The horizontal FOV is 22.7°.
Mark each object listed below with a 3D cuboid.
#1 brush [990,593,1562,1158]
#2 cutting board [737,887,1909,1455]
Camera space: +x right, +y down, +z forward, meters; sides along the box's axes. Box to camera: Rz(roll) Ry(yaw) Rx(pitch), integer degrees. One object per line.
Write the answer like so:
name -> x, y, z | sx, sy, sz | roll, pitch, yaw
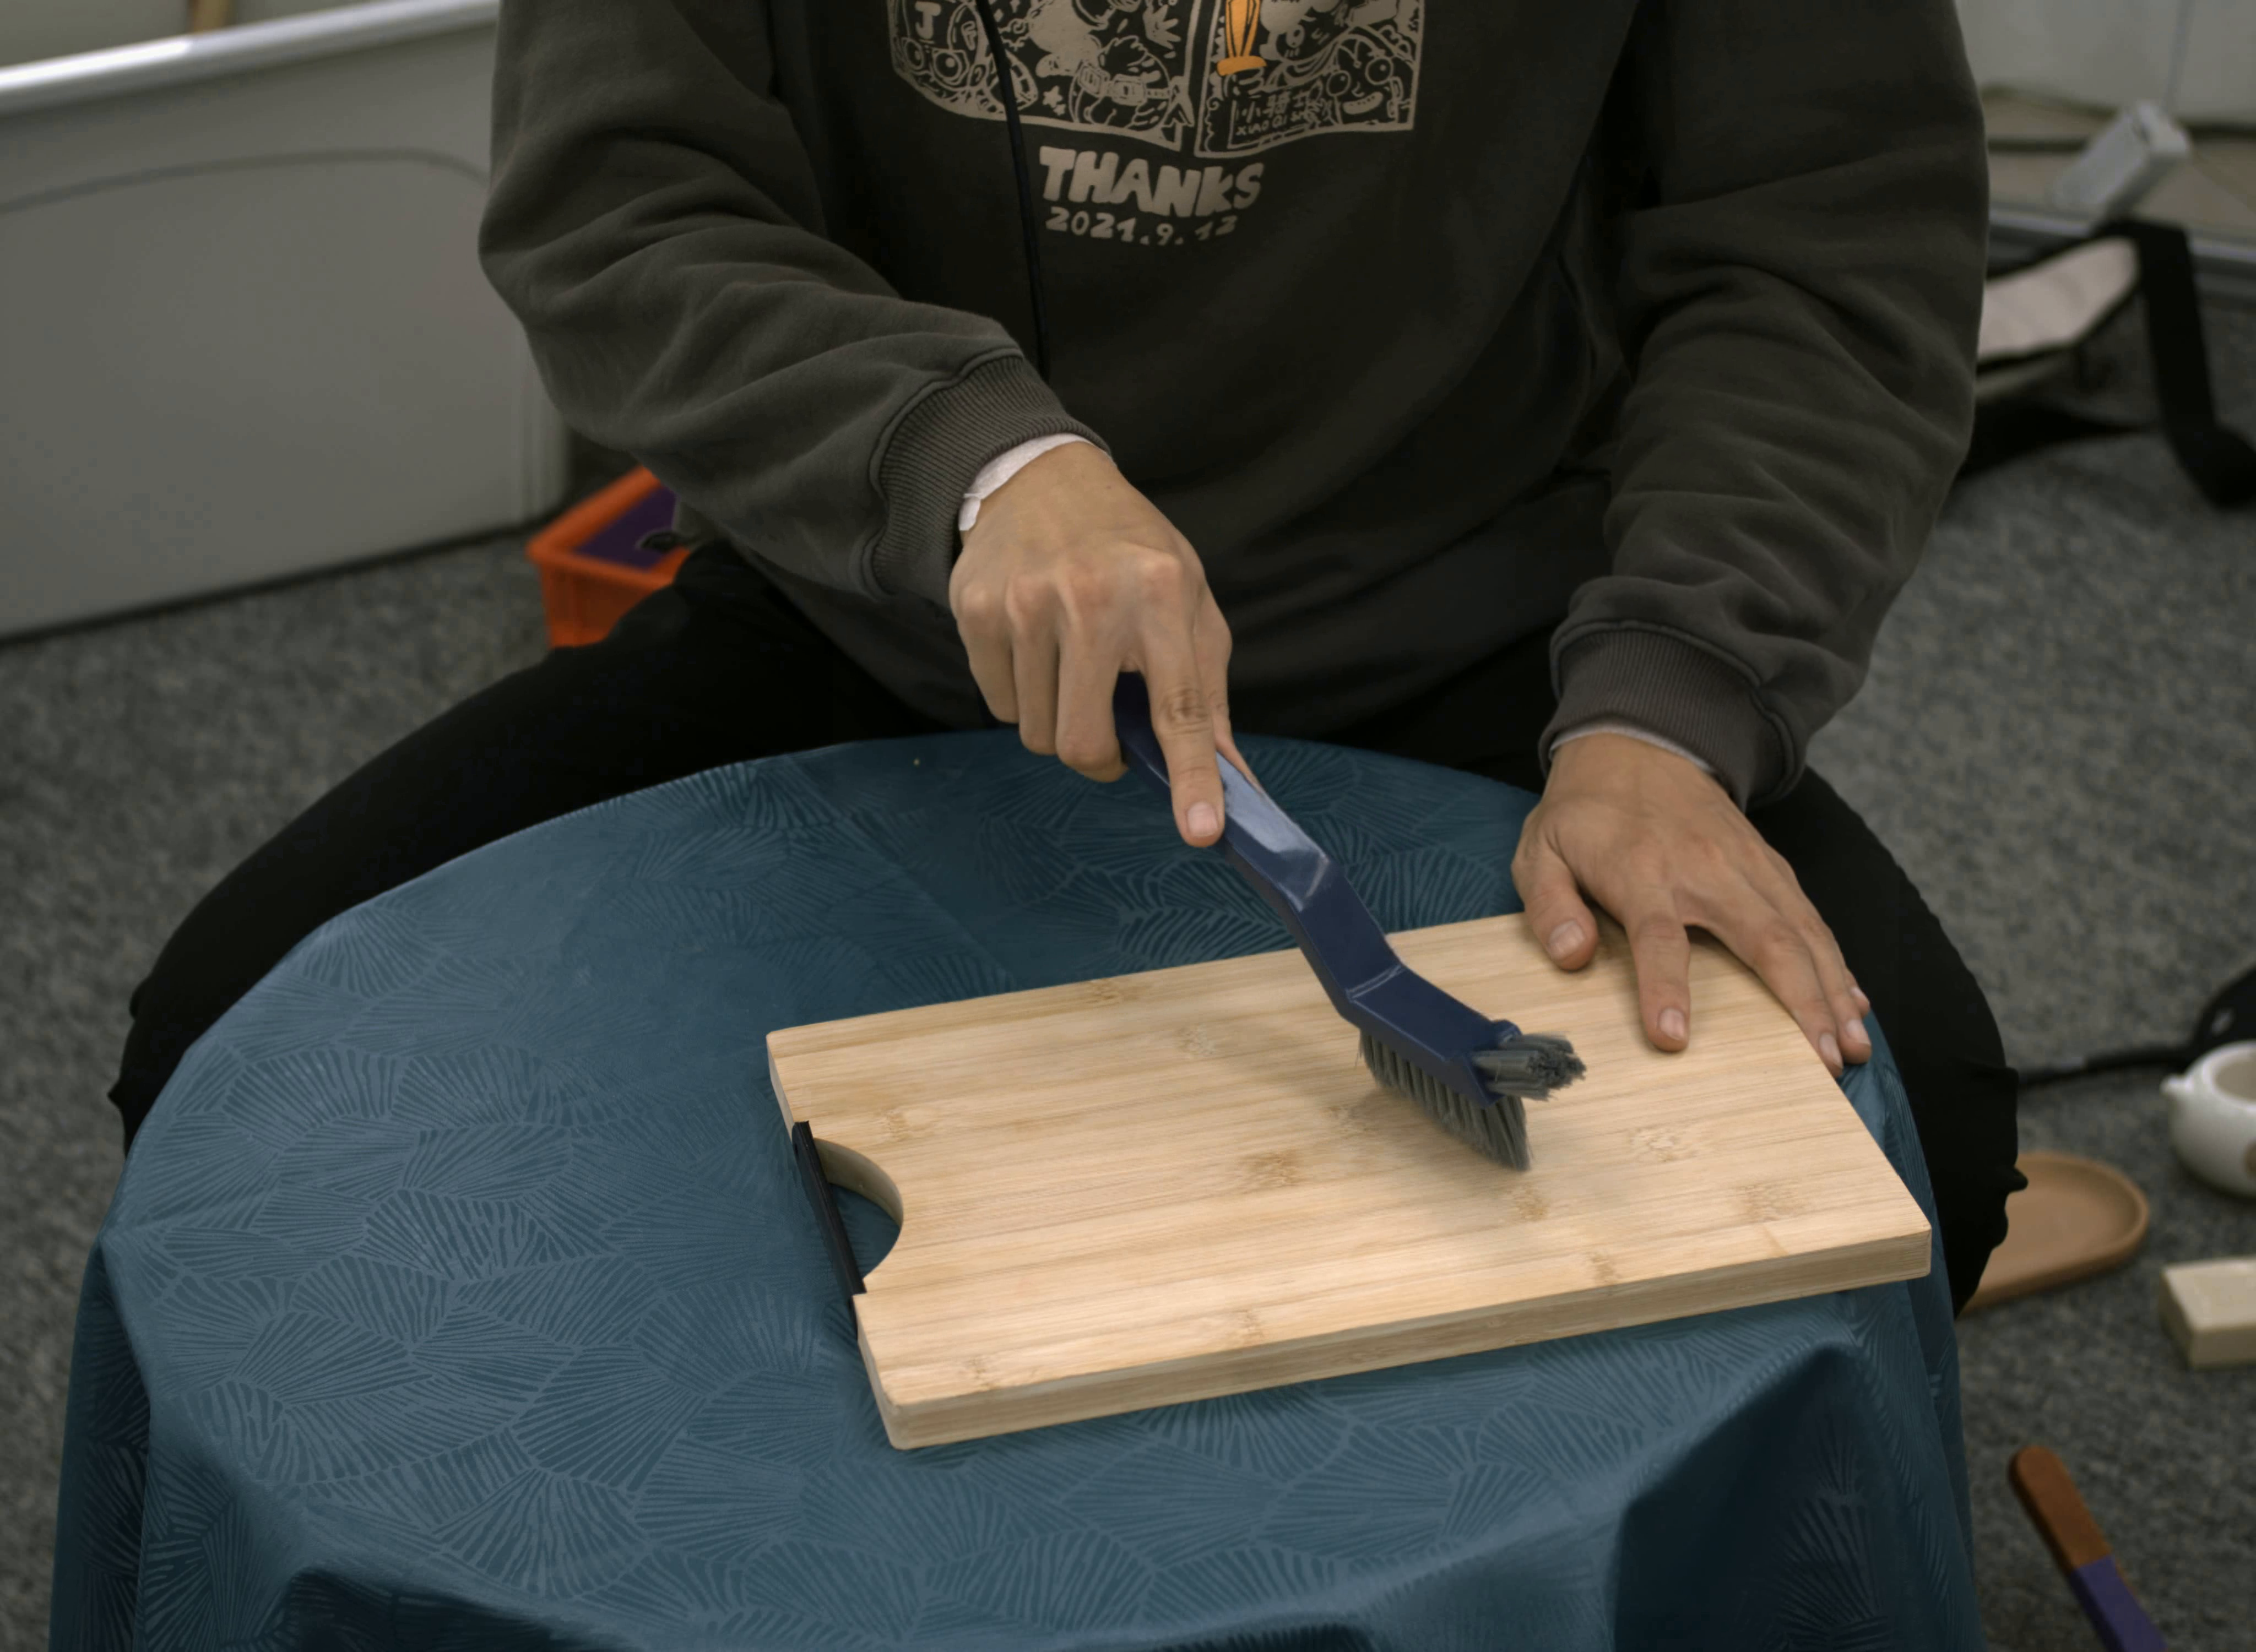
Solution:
brush -> 0.048, 0.004, 1.869 | 0.034, 0.094, 0.275 | -31, 63, -22
cutting board -> 0.060, 0.109, 1.861 | 0.348, 0.023, 0.253 | -9, 28, -11
